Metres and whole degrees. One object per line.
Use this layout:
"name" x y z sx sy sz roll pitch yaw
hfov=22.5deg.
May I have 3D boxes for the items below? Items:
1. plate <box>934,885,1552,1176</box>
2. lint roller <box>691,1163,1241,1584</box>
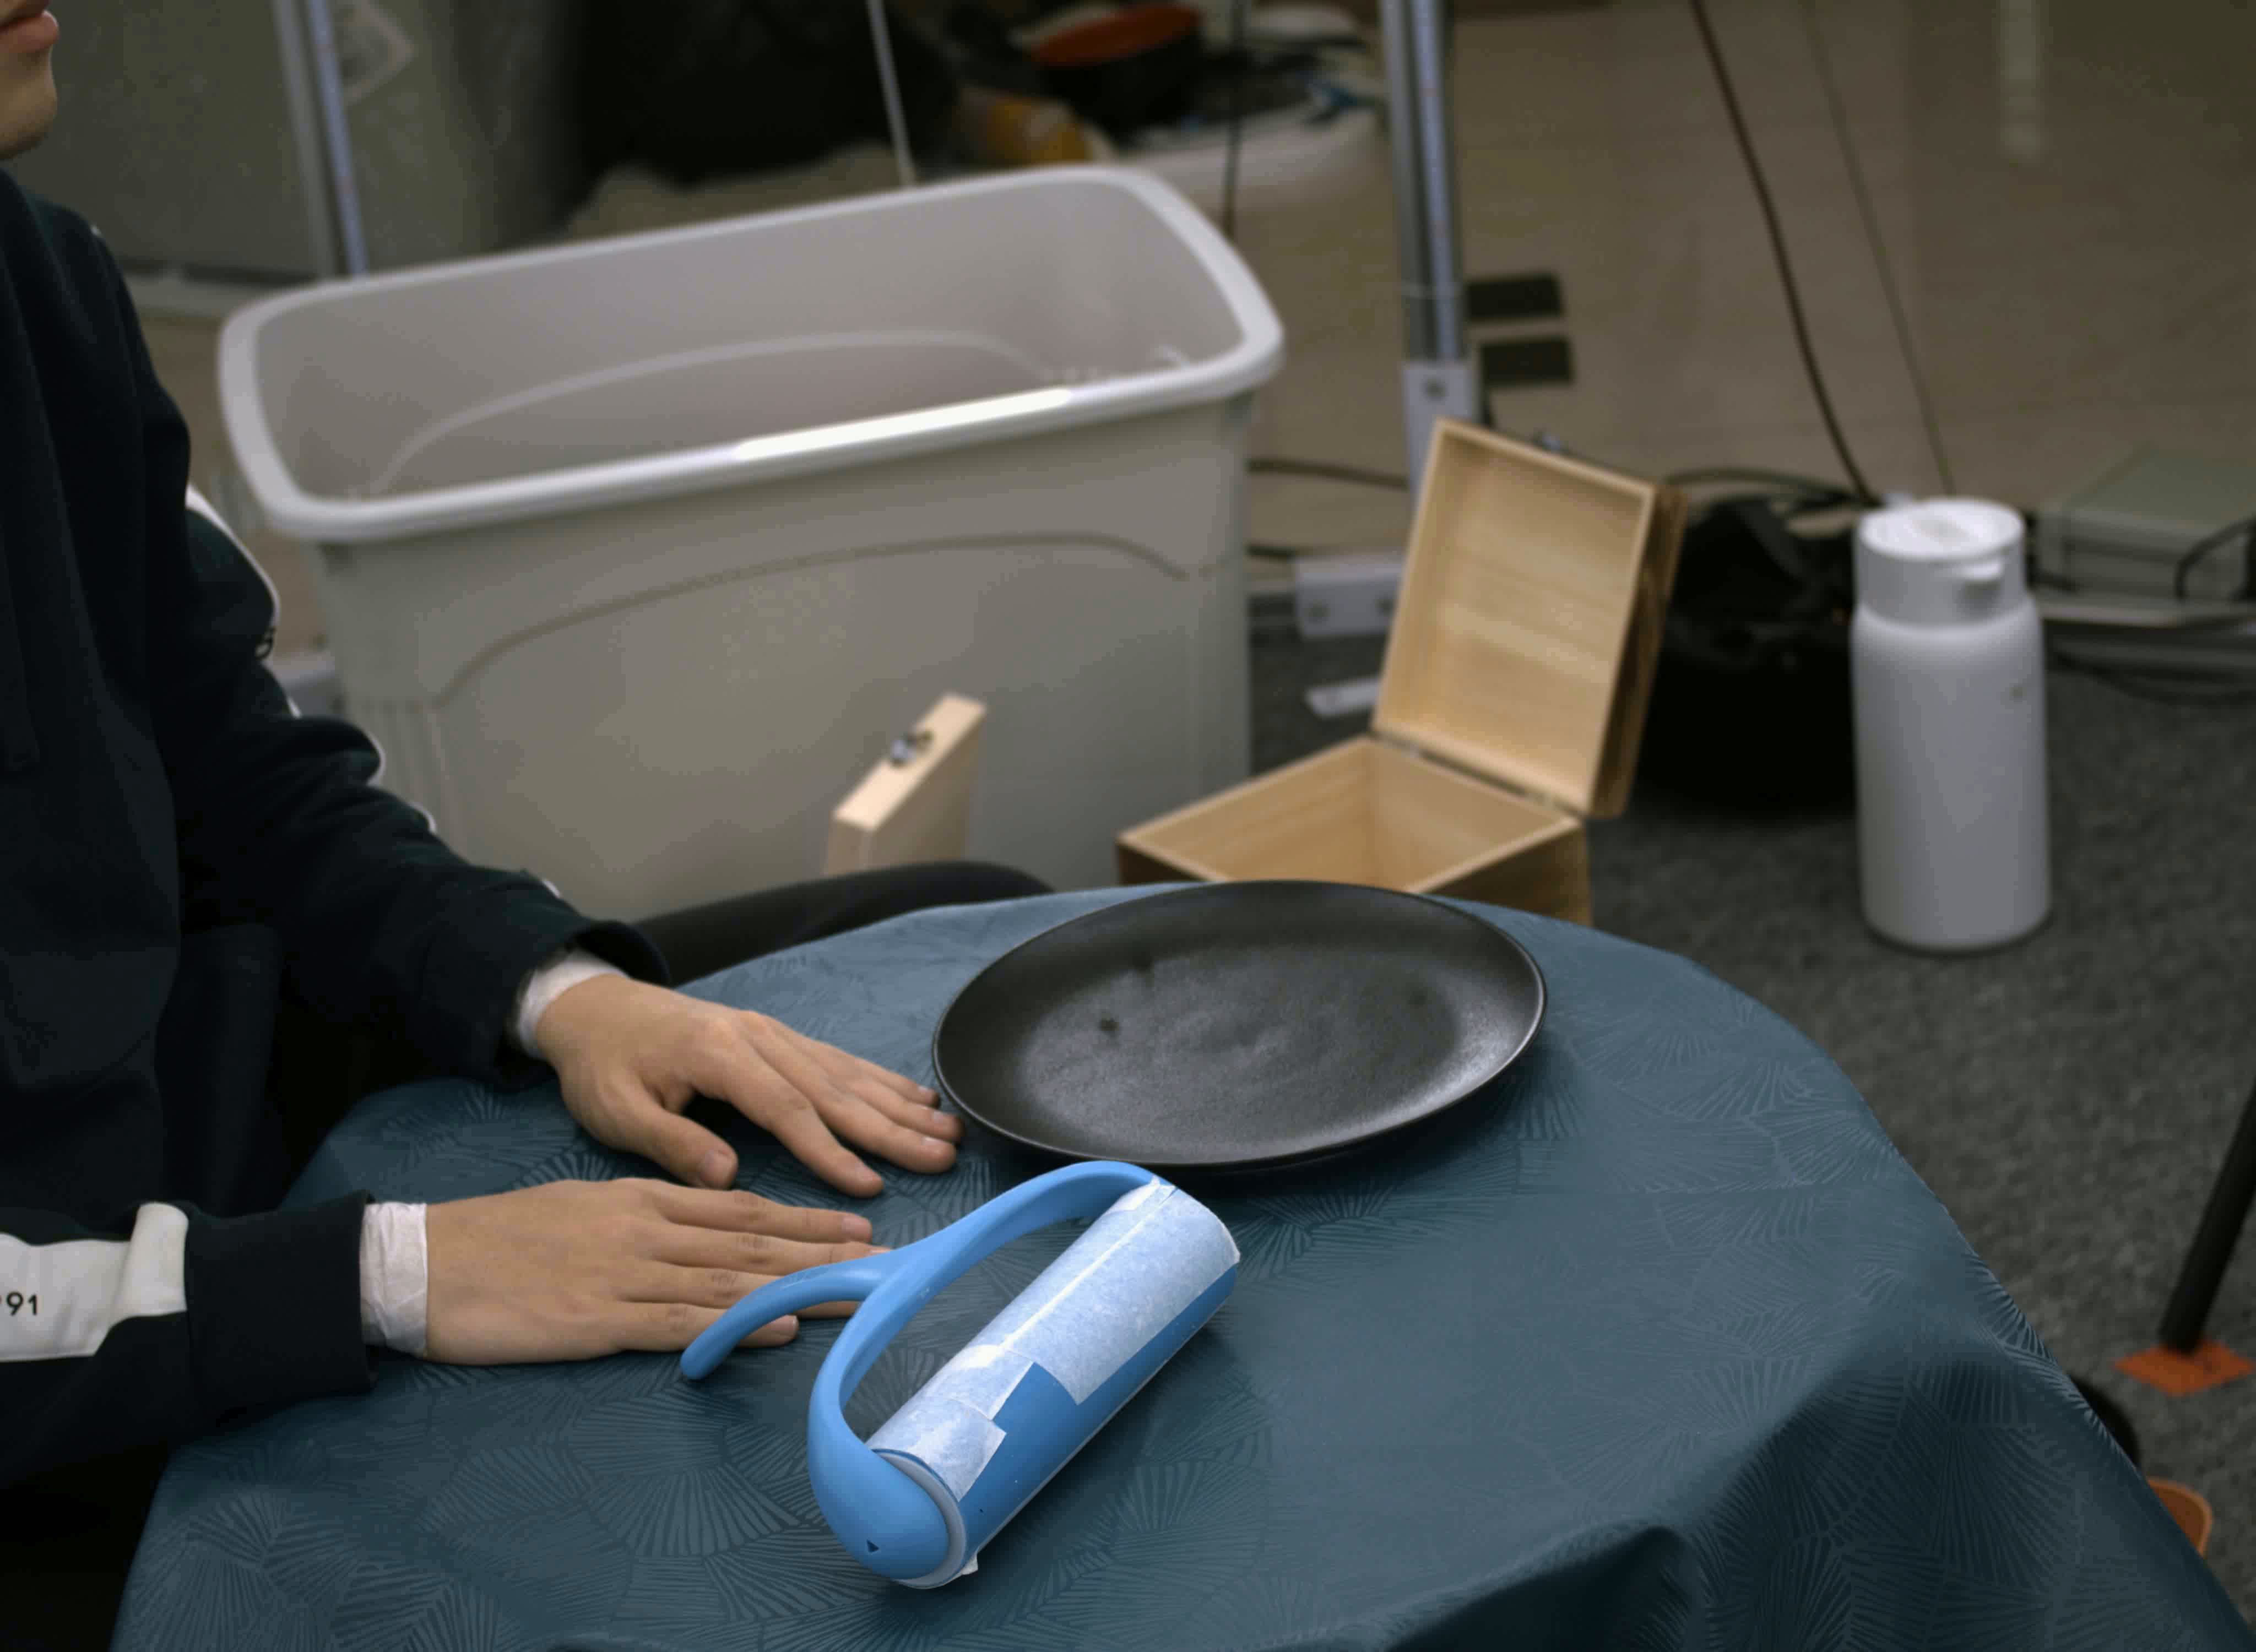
"plate" 0.046 0.084 2.223 0.244 0.024 0.241 -5 25 3
"lint roller" -0.081 0.185 1.998 0.179 0.069 0.226 7 29 26
